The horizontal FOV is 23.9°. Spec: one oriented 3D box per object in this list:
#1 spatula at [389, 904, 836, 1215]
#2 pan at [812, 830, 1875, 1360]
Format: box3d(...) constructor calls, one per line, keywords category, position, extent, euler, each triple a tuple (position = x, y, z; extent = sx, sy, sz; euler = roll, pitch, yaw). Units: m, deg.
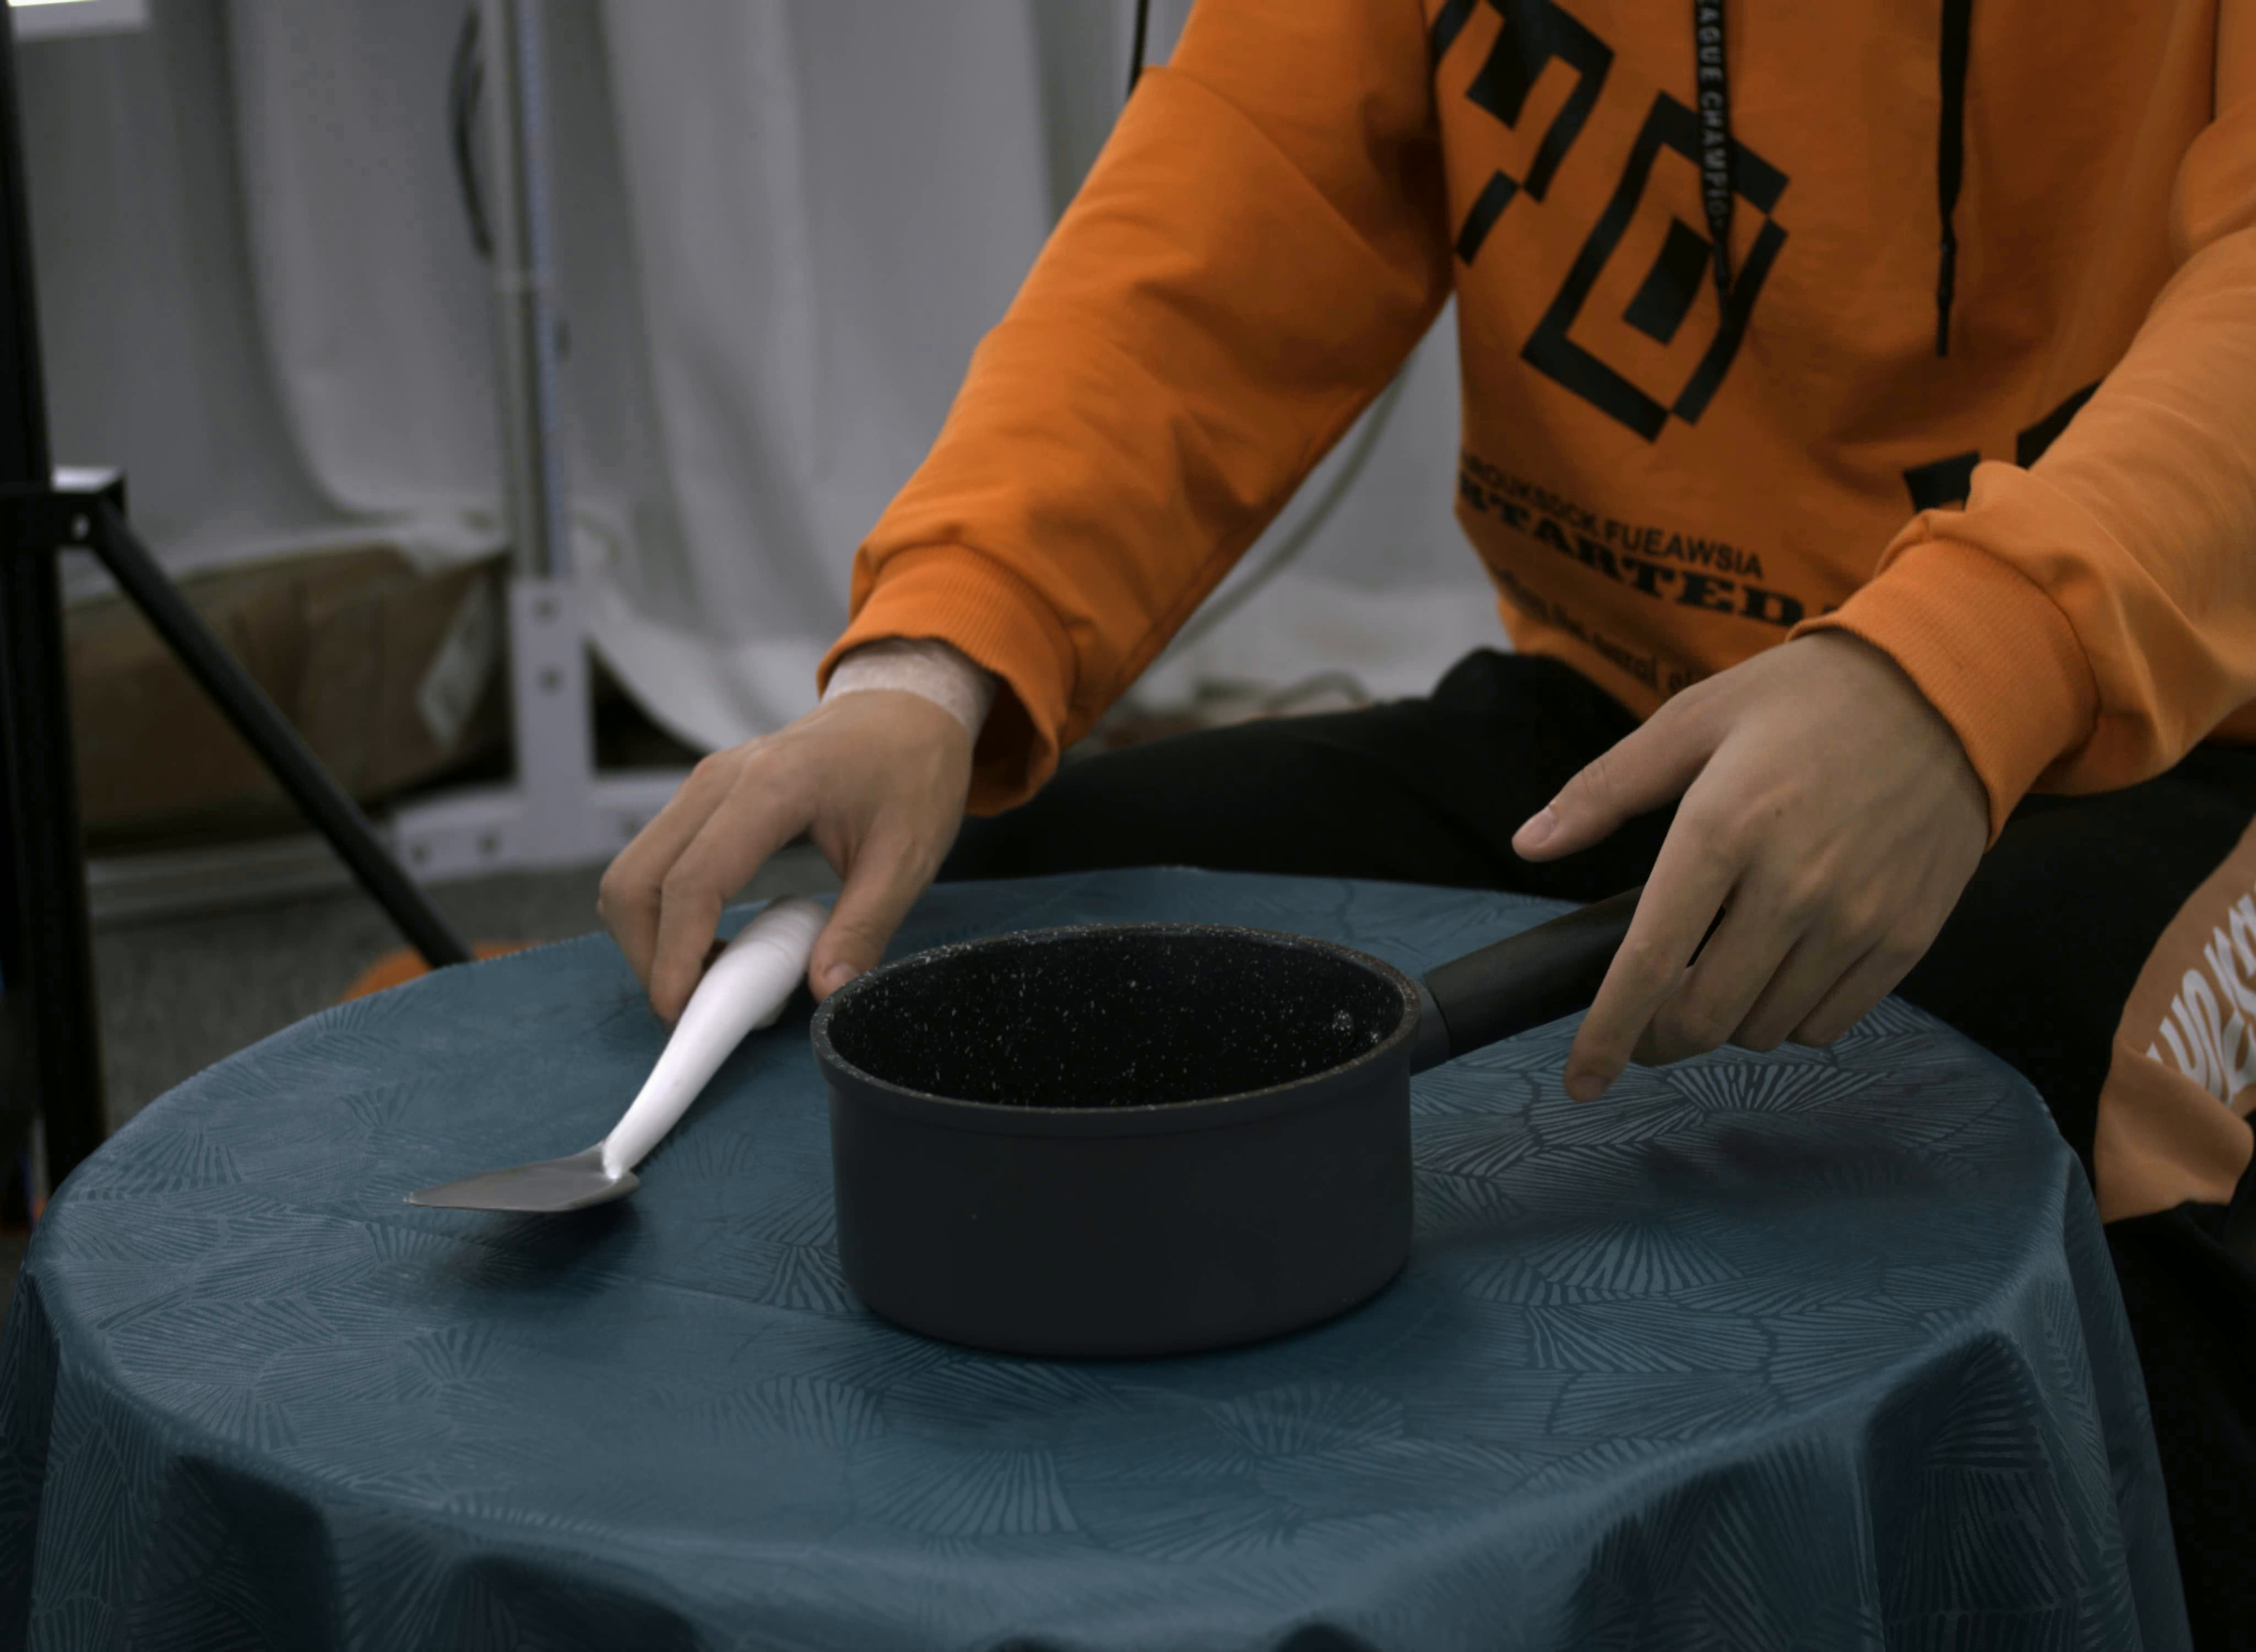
box3d(category="spatula", position=(-0.147, 0.078, 1.629), extent=(0.059, 0.032, 0.285), euler=(6, 17, 14))
box3d(category="pan", position=(0.069, 0.072, 1.519), extent=(0.322, 0.086, 0.175), euler=(-11, 18, -22))
